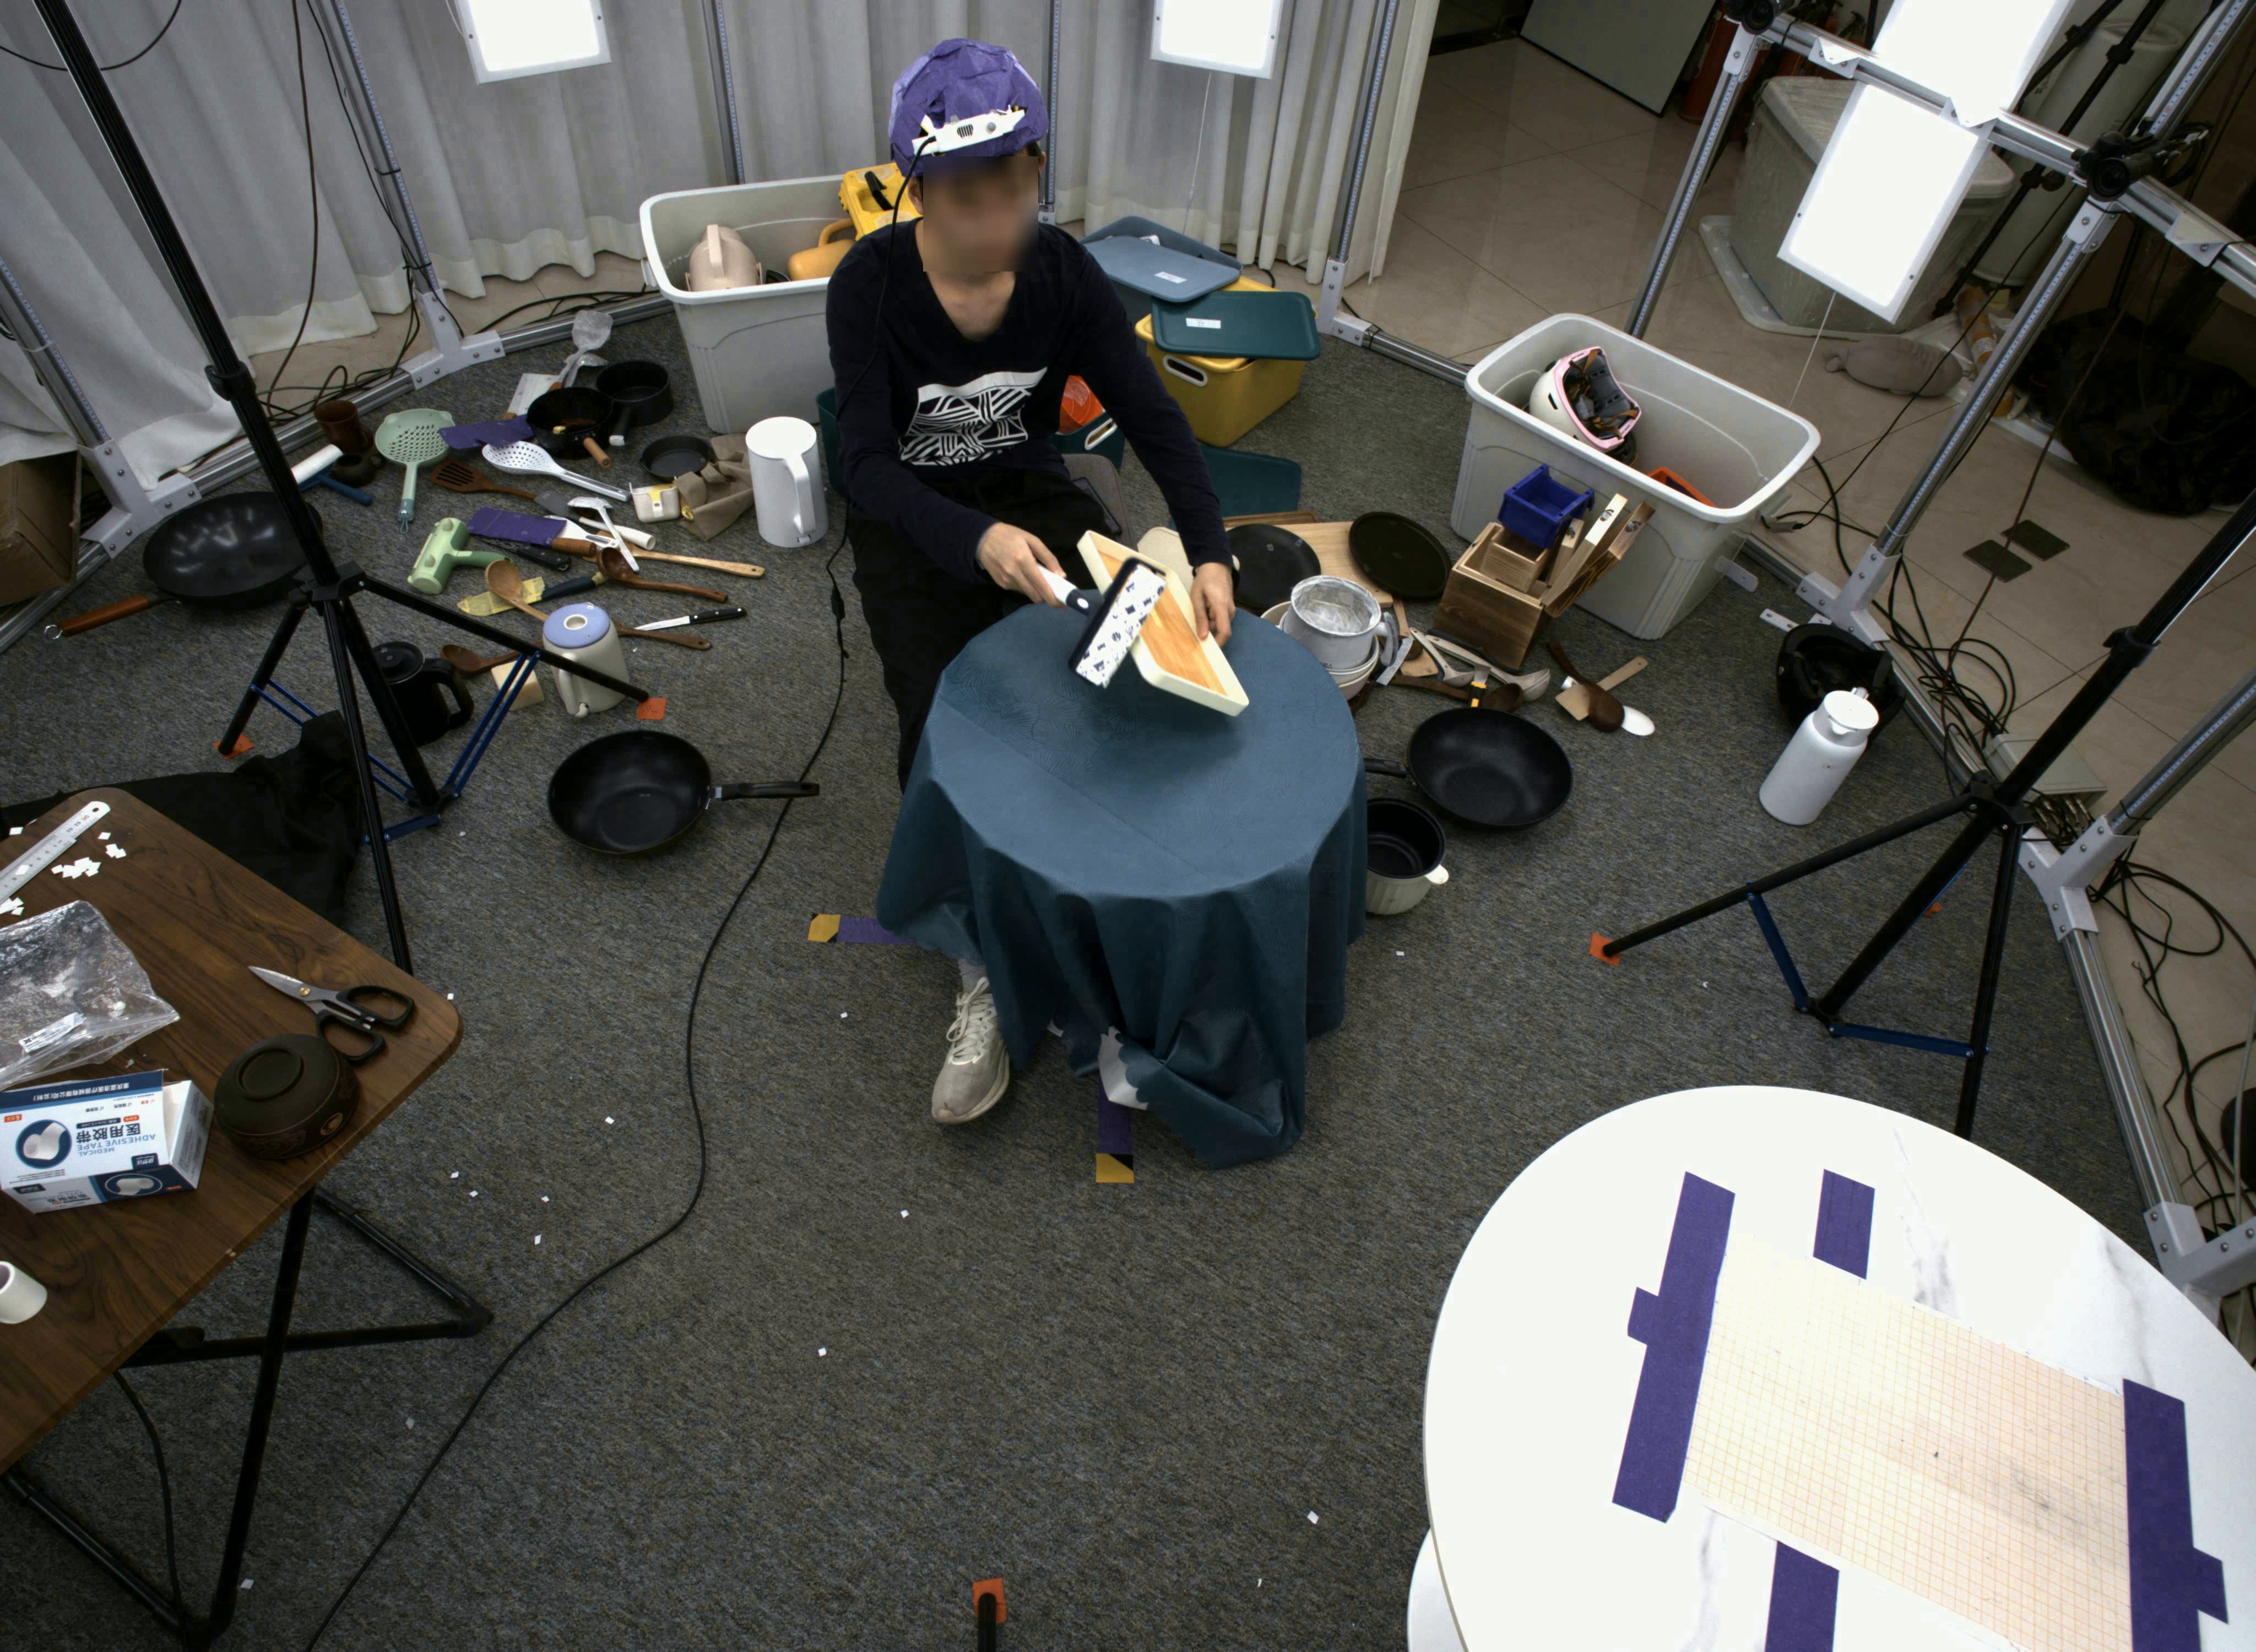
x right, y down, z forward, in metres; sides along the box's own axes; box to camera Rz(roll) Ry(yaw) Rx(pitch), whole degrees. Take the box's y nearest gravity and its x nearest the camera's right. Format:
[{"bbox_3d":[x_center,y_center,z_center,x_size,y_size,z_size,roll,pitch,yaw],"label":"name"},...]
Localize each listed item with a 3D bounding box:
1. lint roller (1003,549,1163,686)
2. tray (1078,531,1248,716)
[{"bbox_3d":[-0.086,-0.315,1.729,0.251,0.050,0.175,34,98,30],"label":"lint roller"},{"bbox_3d":[0.046,-0.285,1.799,0.189,0.027,0.307,14,40,-39],"label":"tray"}]
